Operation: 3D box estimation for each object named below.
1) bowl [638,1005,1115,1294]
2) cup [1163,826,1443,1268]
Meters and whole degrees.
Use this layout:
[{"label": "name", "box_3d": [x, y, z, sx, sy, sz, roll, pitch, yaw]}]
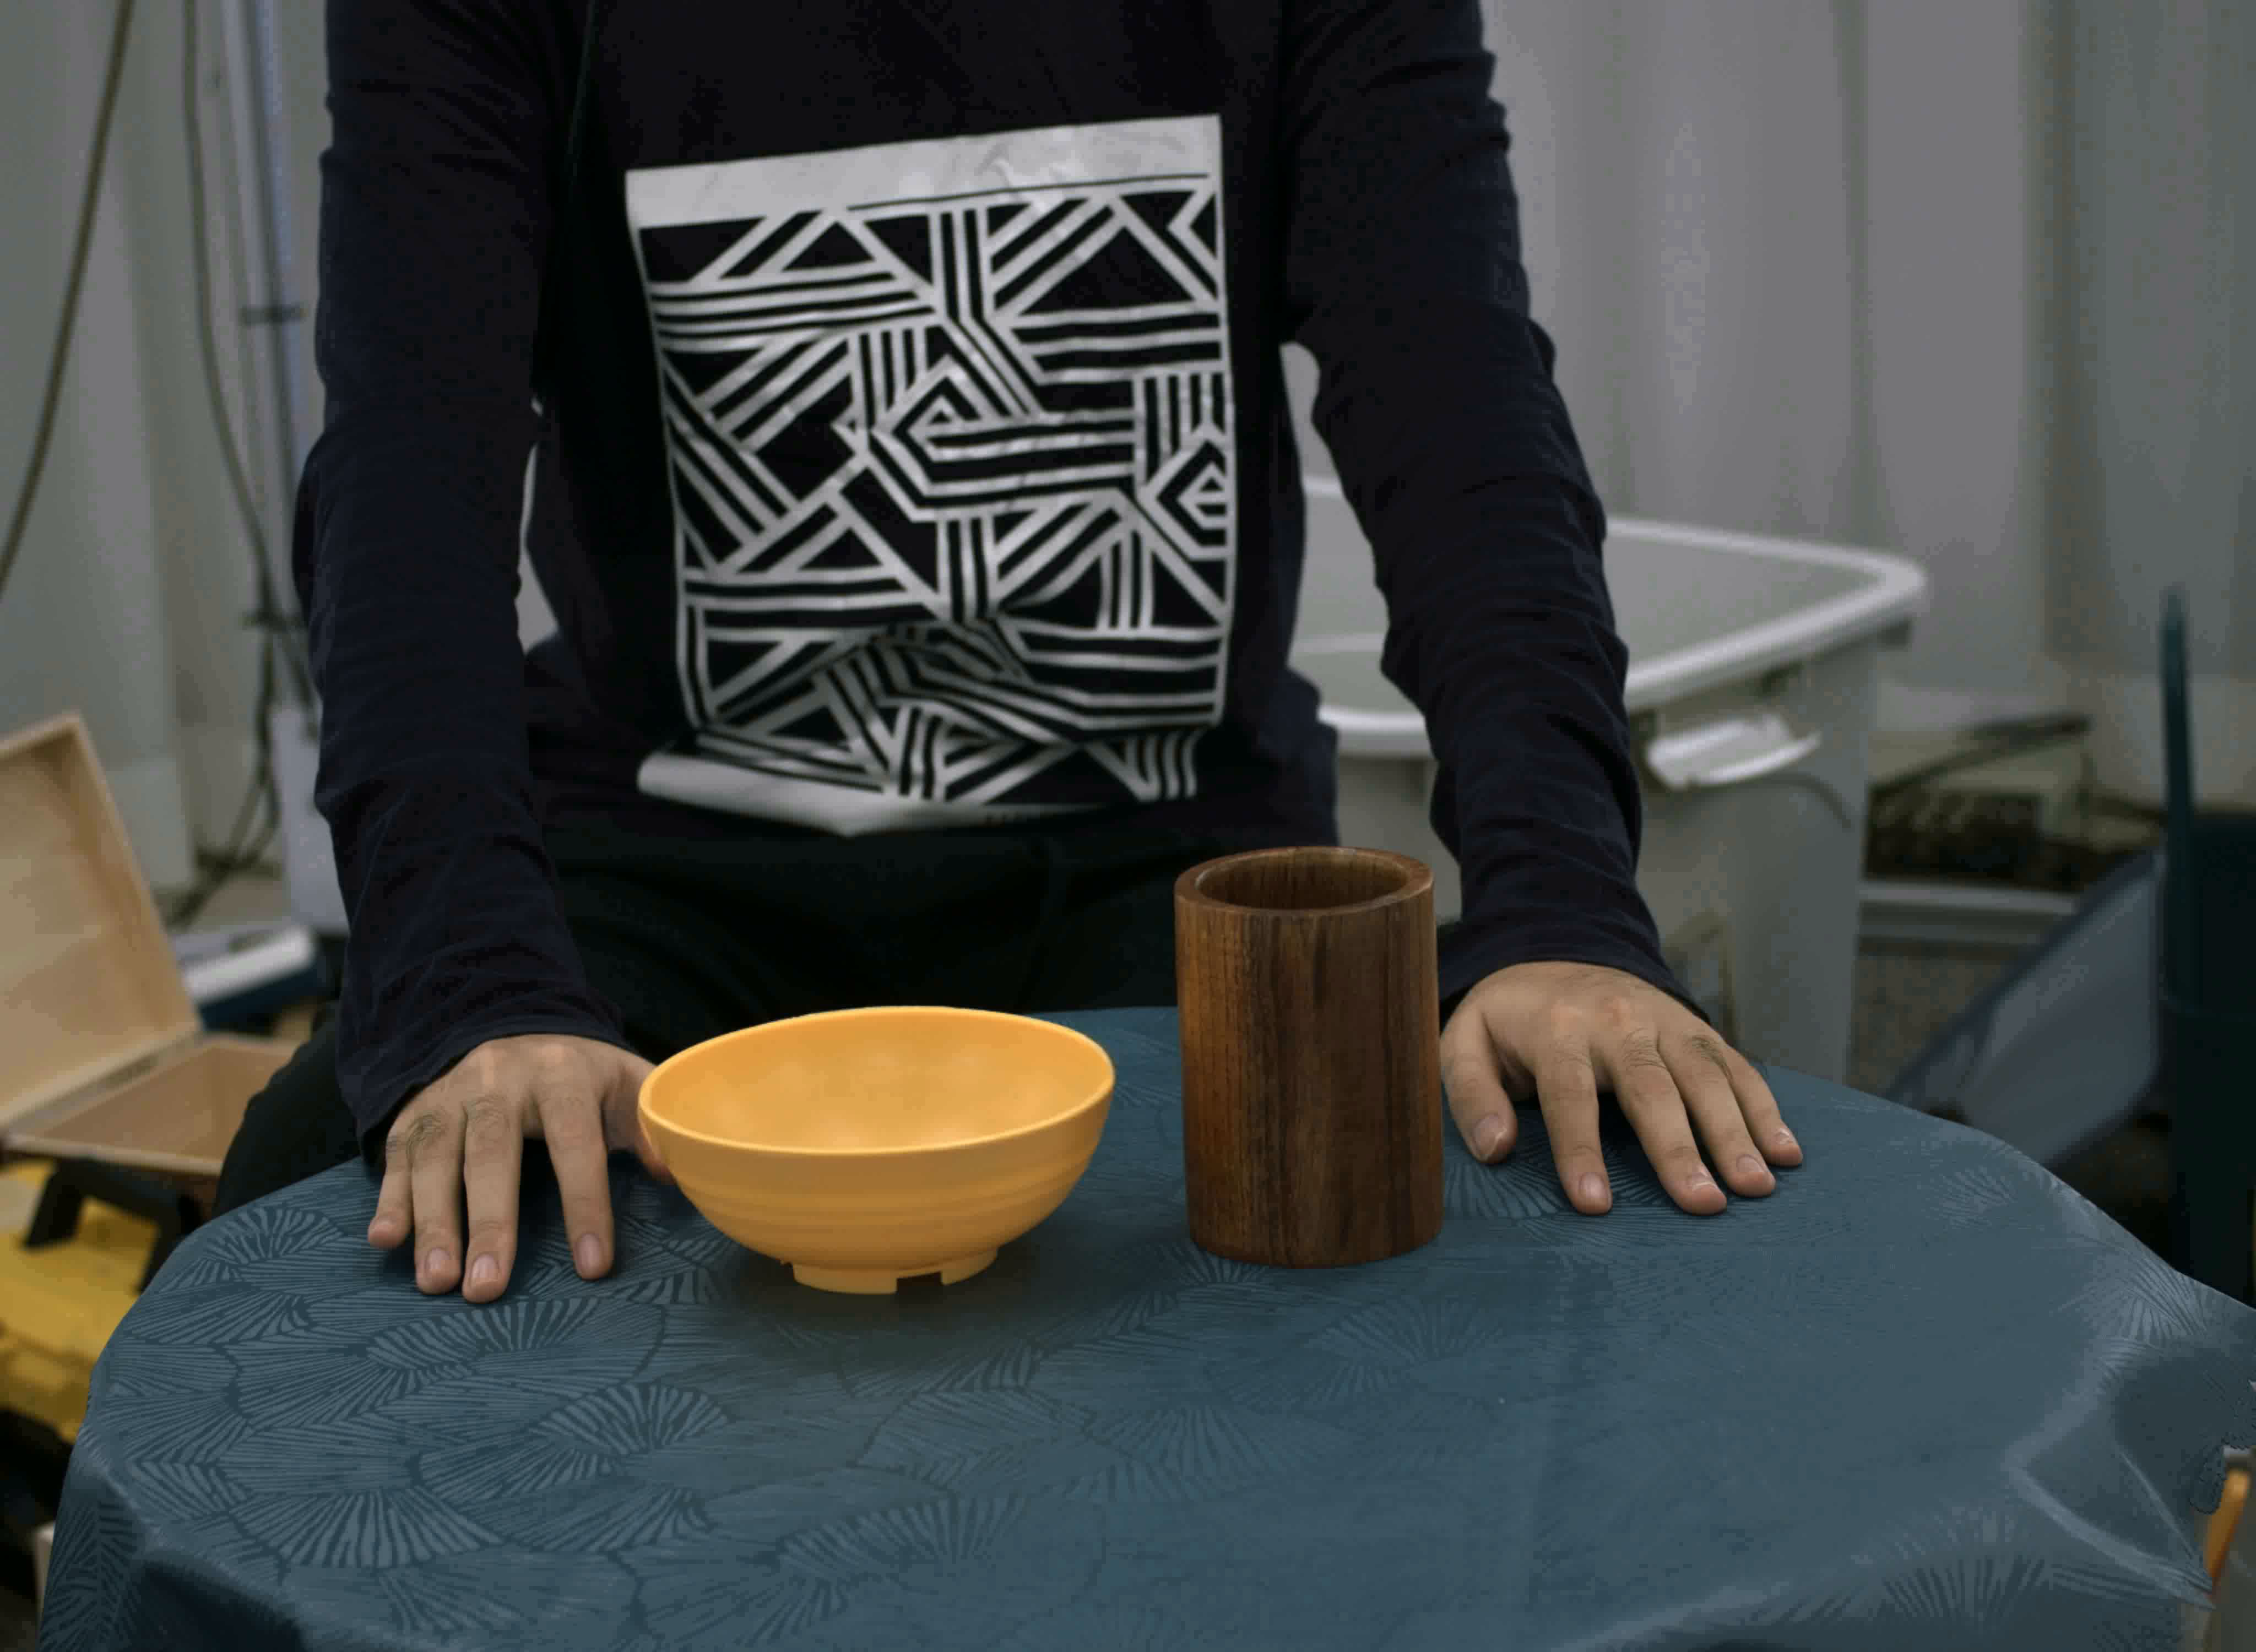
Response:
[{"label": "bowl", "box_3d": [-0.075, 0.103, 1.657, 0.145, 0.060, 0.146, -2, 15, 0]}, {"label": "cup", "box_3d": [0.054, 0.066, 1.662, 0.087, 0.118, 0.088, -2, 13, 0]}]
